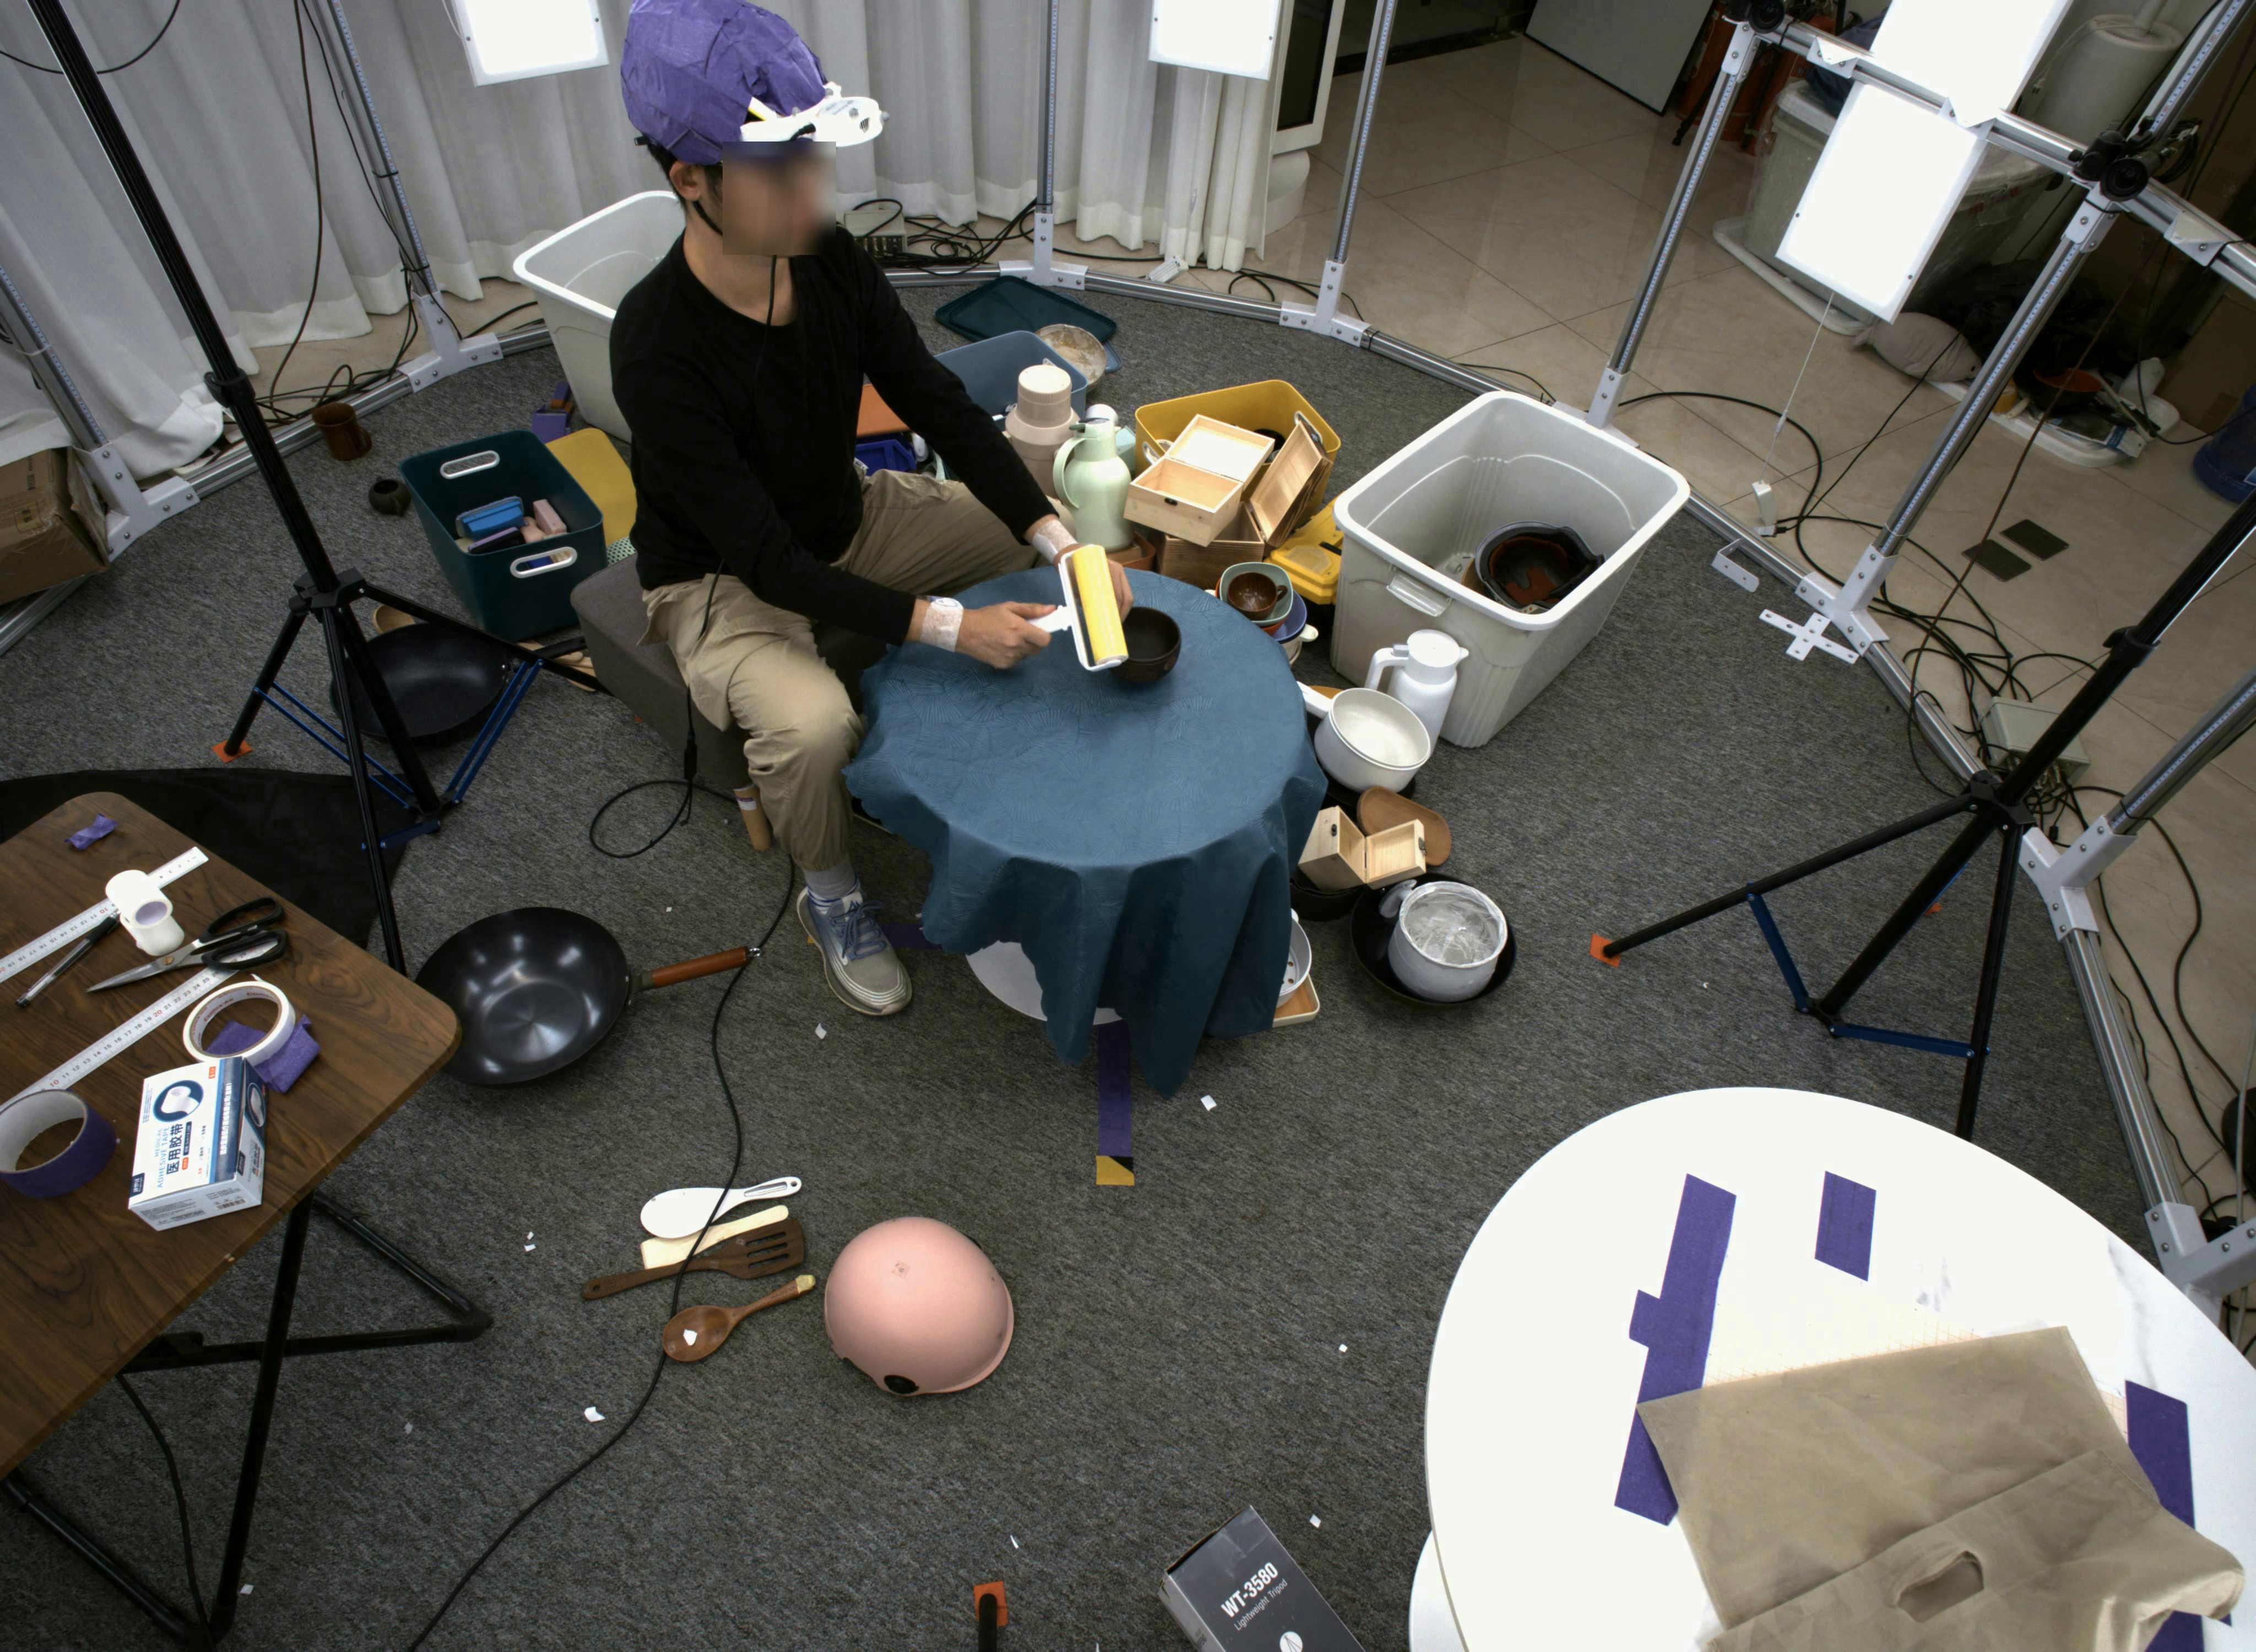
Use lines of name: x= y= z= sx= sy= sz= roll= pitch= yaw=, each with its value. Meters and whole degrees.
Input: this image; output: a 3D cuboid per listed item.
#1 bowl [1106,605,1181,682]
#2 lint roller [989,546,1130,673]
bowl: x=0.015 y=-0.254 z=1.843 sx=0.118 sy=0.068 sz=0.121 roll=3 pitch=49 yaw=-3
lint roller: x=-0.107 y=-0.283 z=1.789 sx=0.192 sy=0.051 sz=0.176 roll=-15 pitch=78 yaw=7
